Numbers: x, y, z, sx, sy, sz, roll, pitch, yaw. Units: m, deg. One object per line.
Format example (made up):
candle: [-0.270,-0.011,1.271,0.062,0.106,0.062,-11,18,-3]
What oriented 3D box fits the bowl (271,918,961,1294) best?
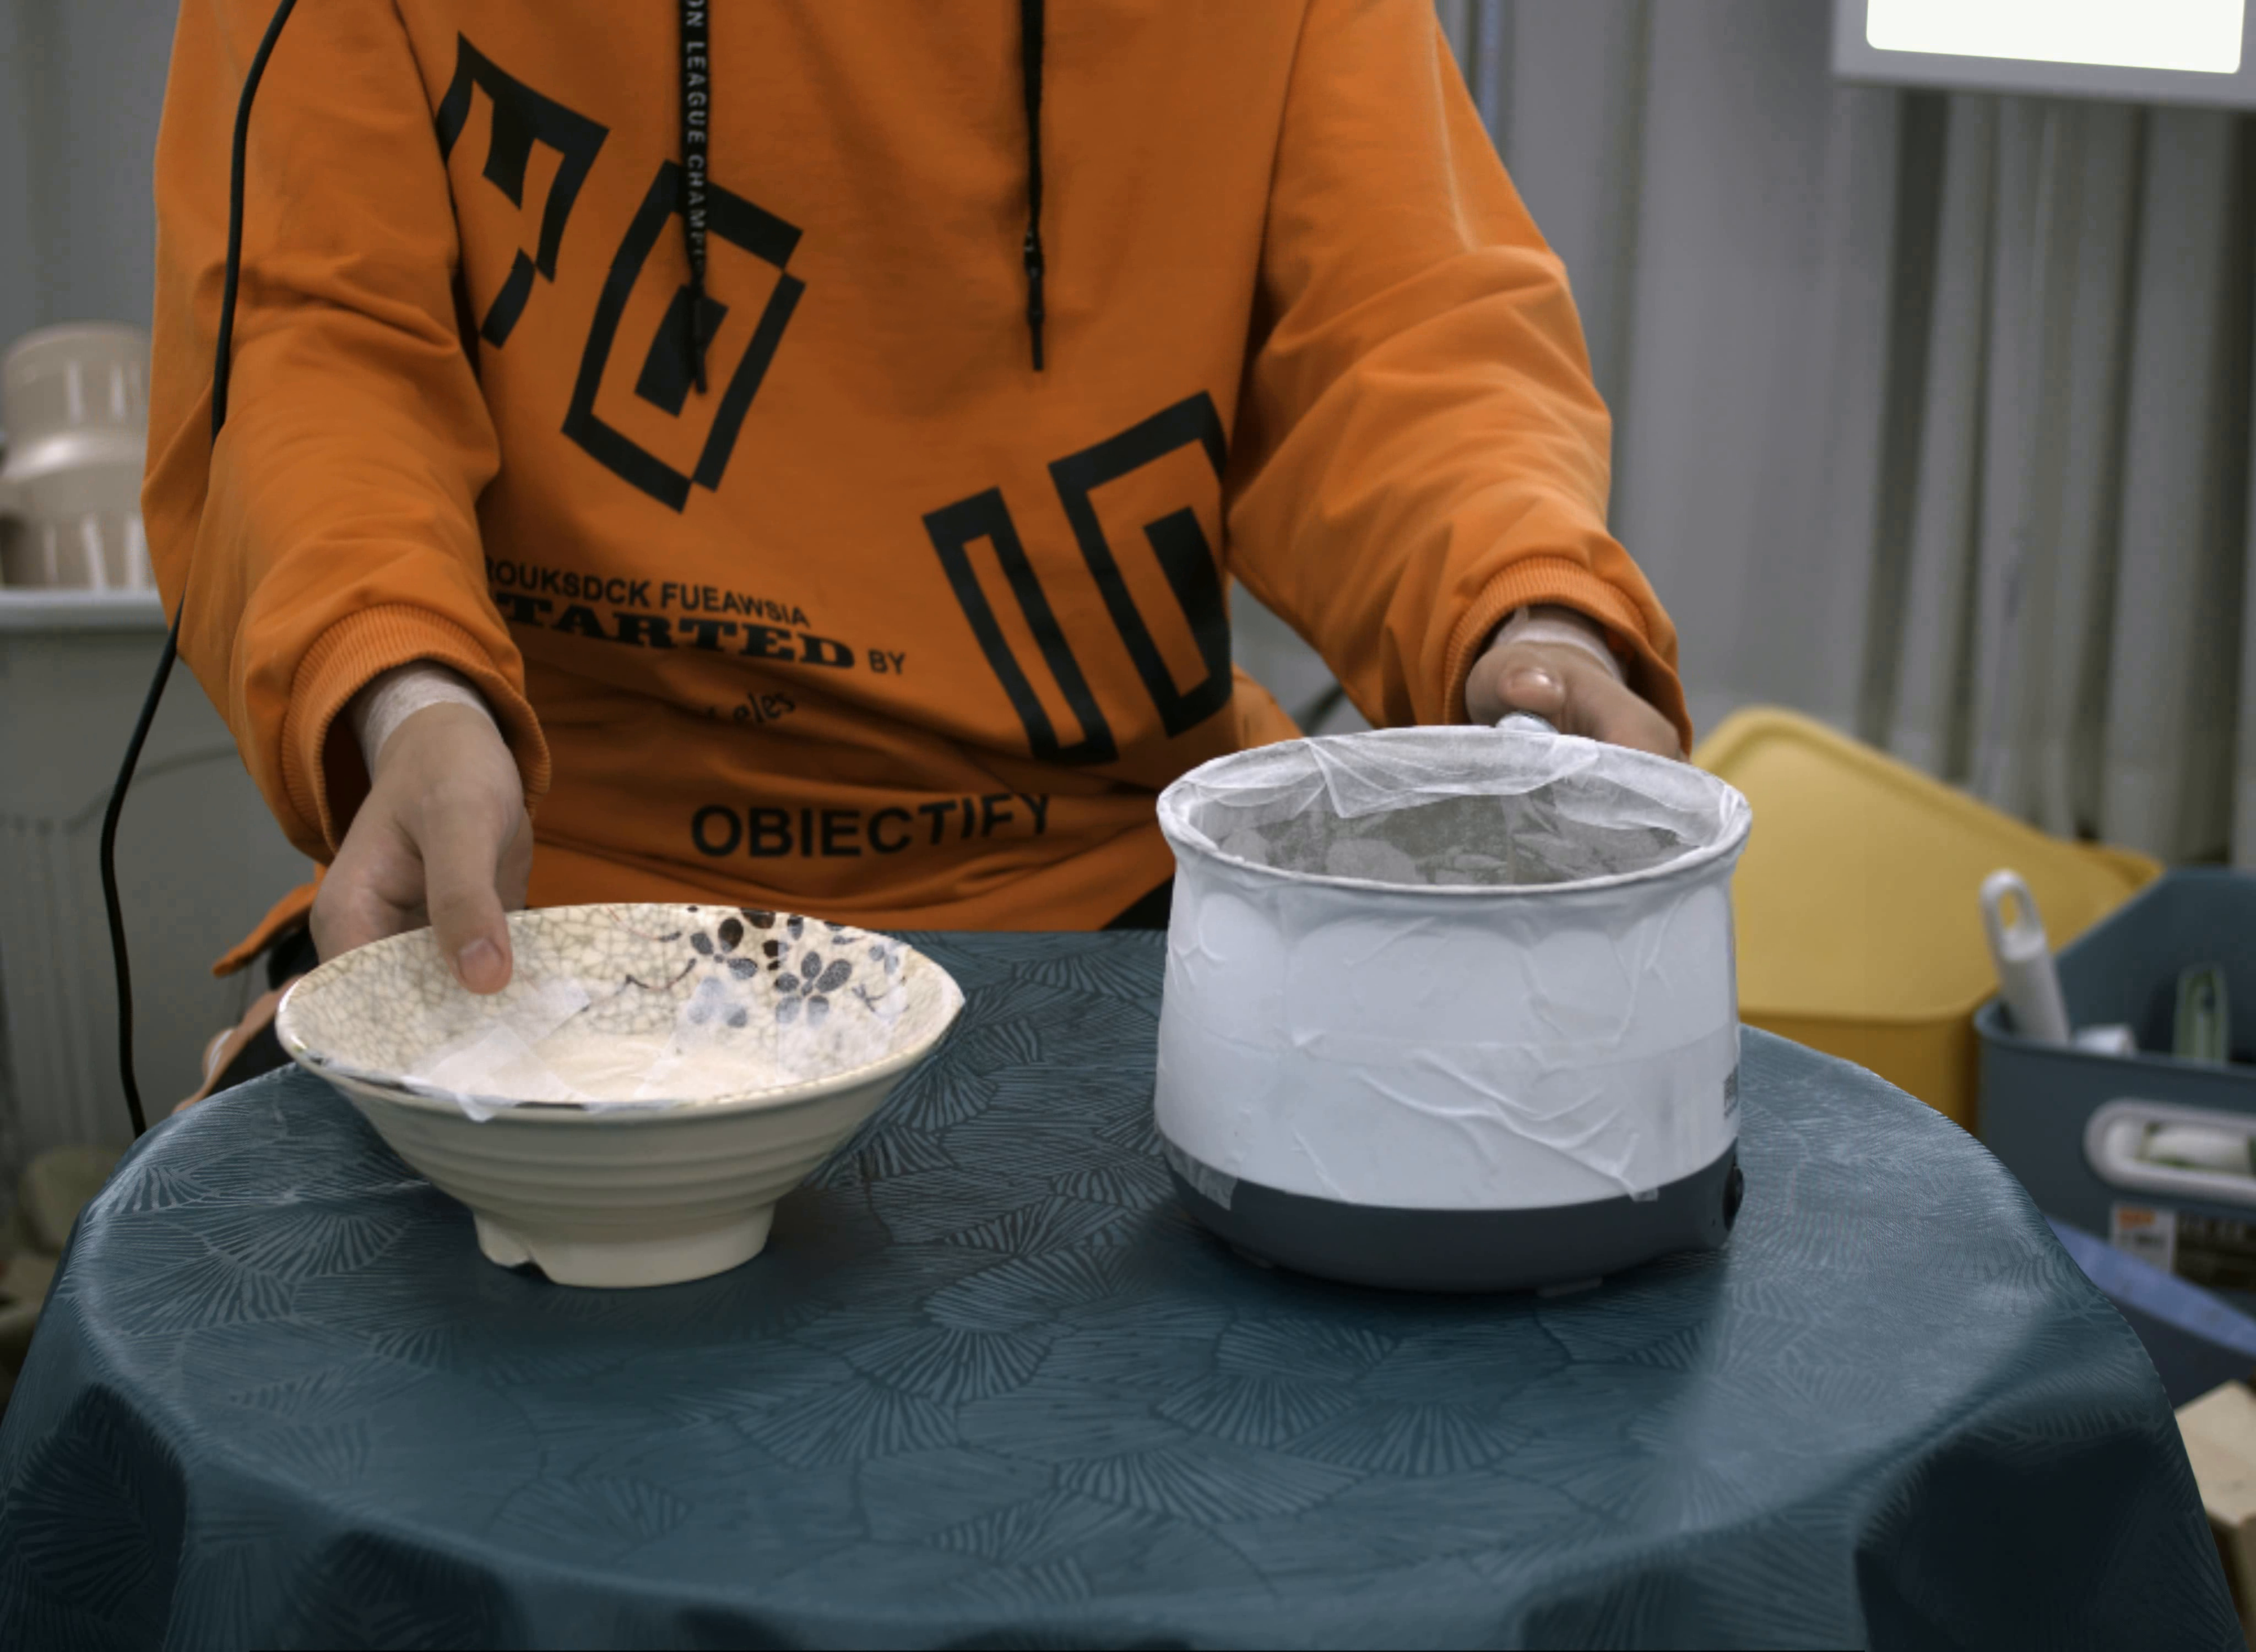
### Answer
bowl: [-0.151,0.089,1.564,0.203,0.078,0.203,0,13,1]

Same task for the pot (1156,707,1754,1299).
pot: [0.103,0.047,1.603,0.177,0.138,0.233,5,17,13]
